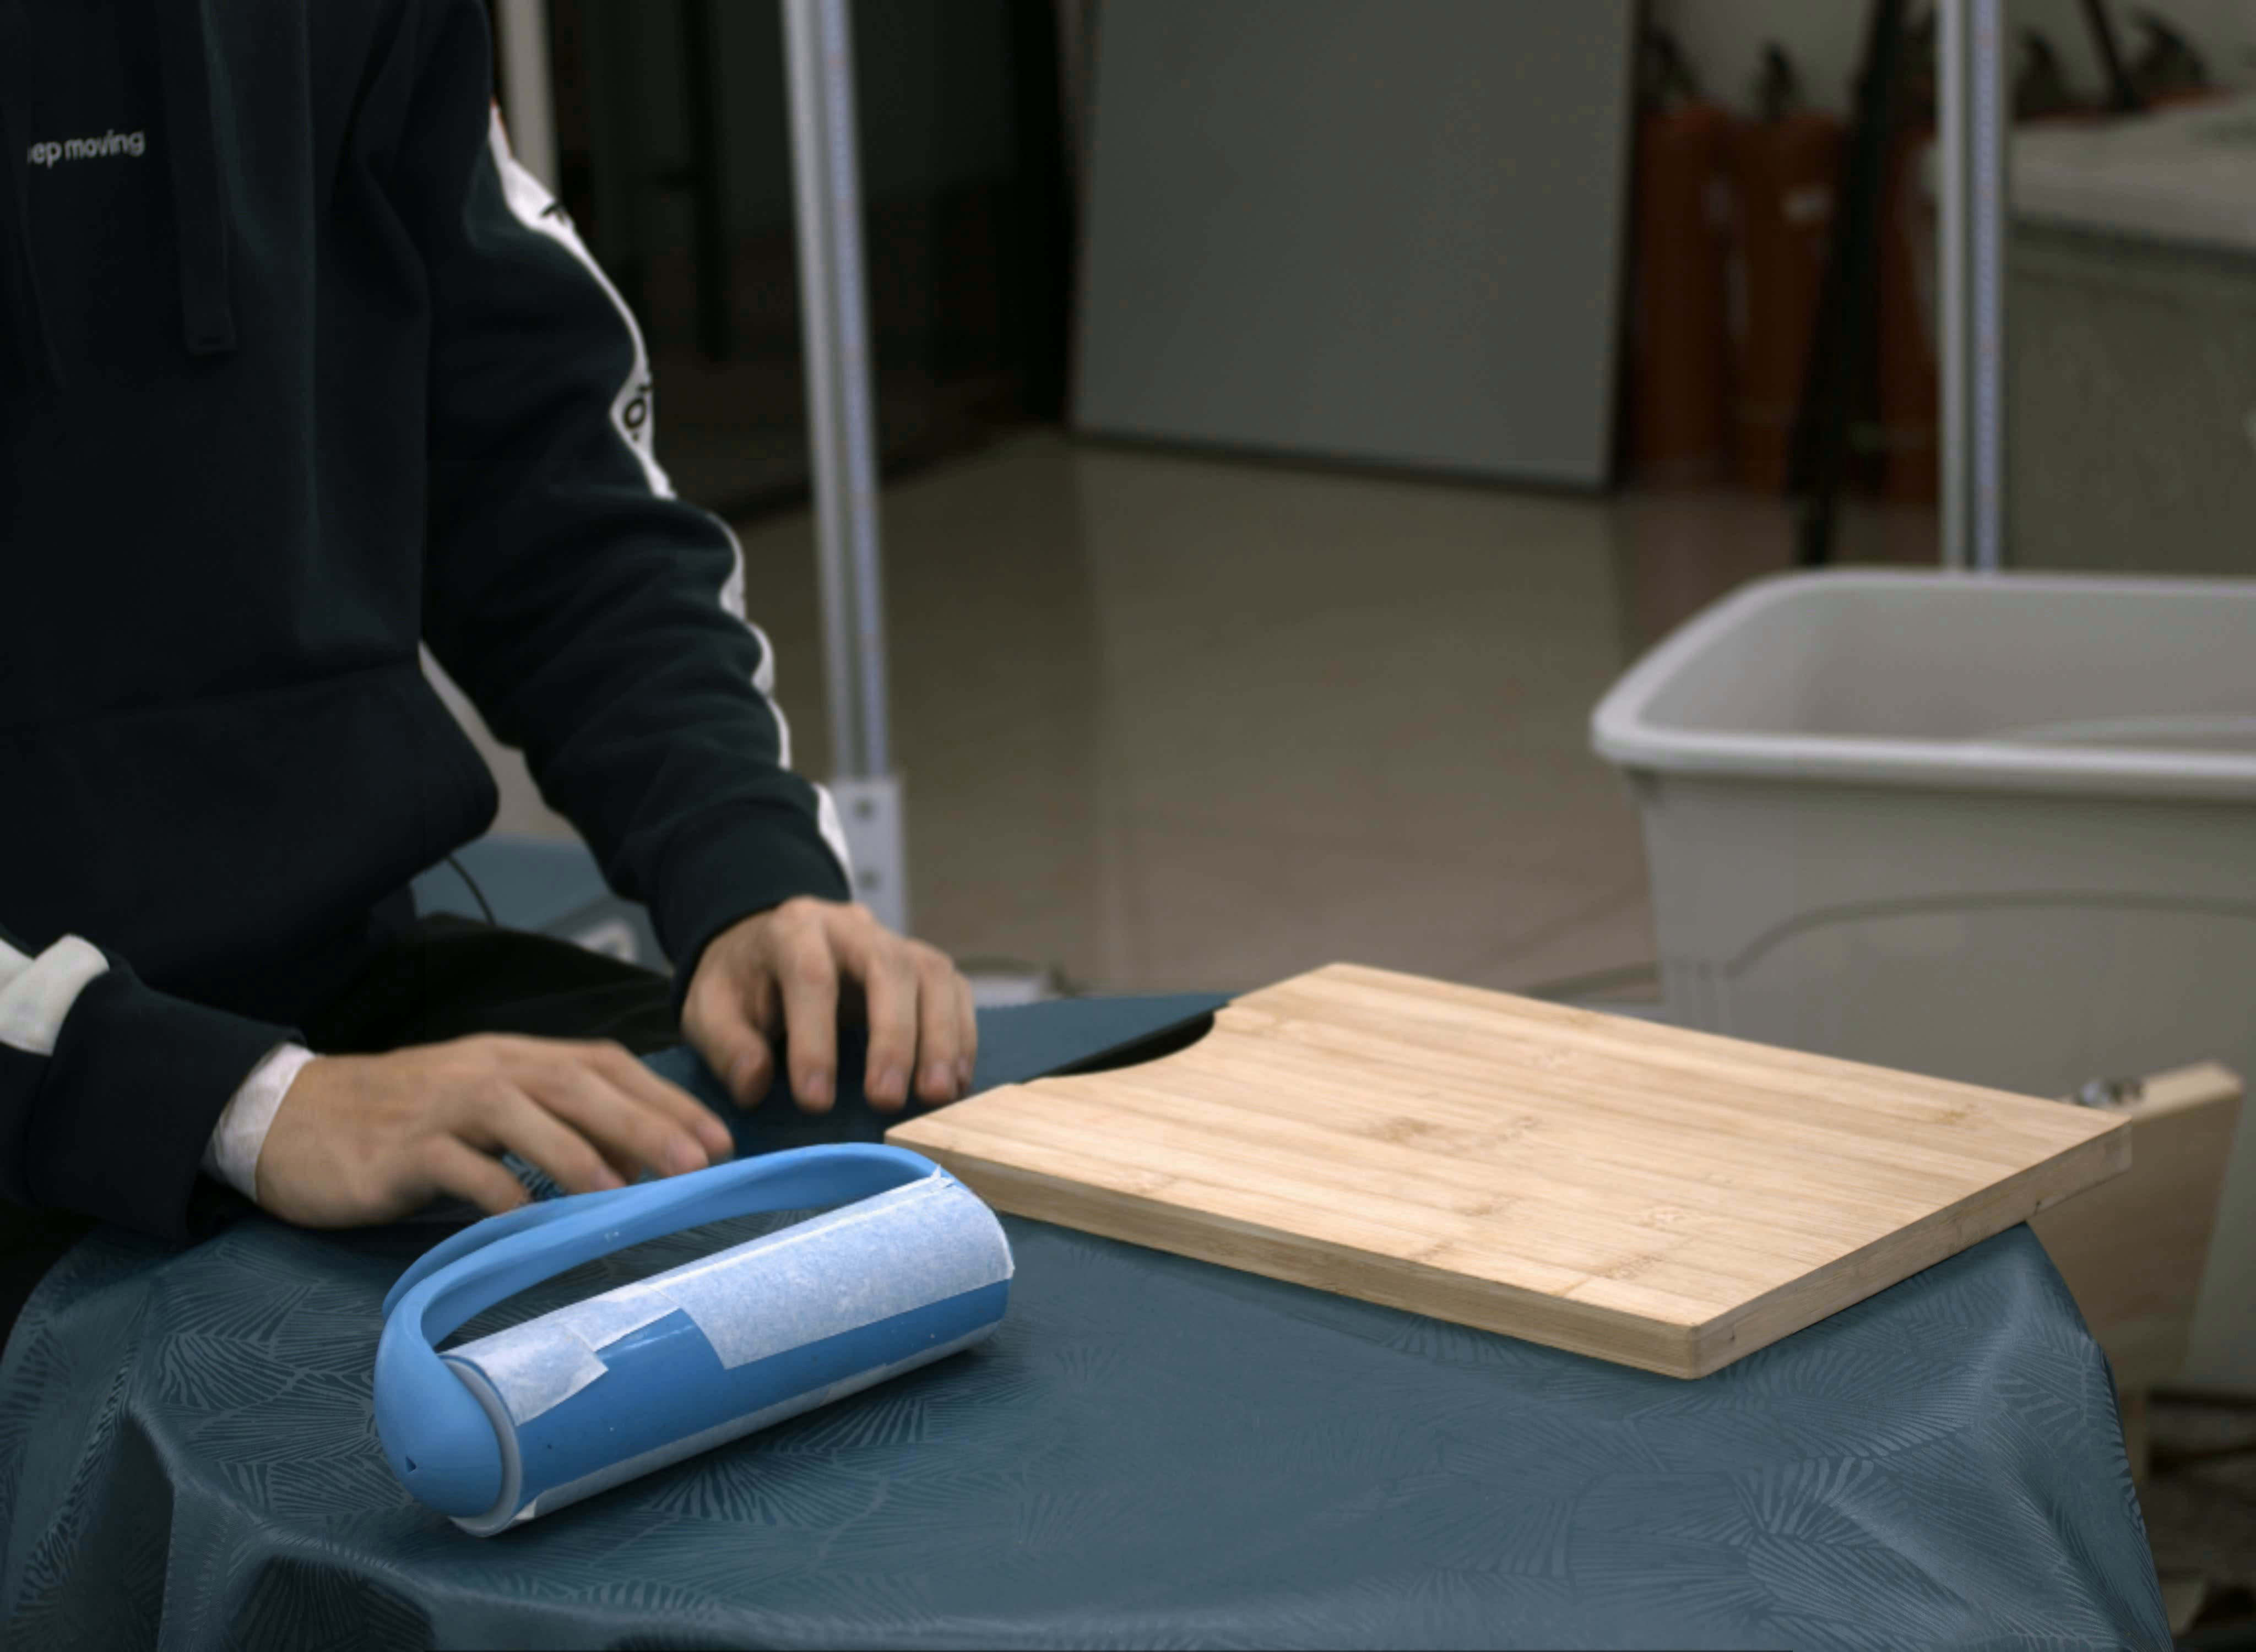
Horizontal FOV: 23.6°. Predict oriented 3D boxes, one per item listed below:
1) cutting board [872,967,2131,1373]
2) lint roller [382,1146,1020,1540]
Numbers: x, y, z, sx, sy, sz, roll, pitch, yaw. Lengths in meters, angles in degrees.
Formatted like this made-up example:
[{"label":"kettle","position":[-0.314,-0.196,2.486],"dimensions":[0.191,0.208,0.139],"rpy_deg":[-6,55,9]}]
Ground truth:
[{"label":"cutting board","position":[0.118,0.107,1.762],"dimensions":[0.351,0.024,0.246],"rpy_deg":[9,19,42]},{"label":"lint roller","position":[-0.161,0.144,1.607],"dimensions":[0.182,0.068,0.224],"rpy_deg":[9,20,42]}]
